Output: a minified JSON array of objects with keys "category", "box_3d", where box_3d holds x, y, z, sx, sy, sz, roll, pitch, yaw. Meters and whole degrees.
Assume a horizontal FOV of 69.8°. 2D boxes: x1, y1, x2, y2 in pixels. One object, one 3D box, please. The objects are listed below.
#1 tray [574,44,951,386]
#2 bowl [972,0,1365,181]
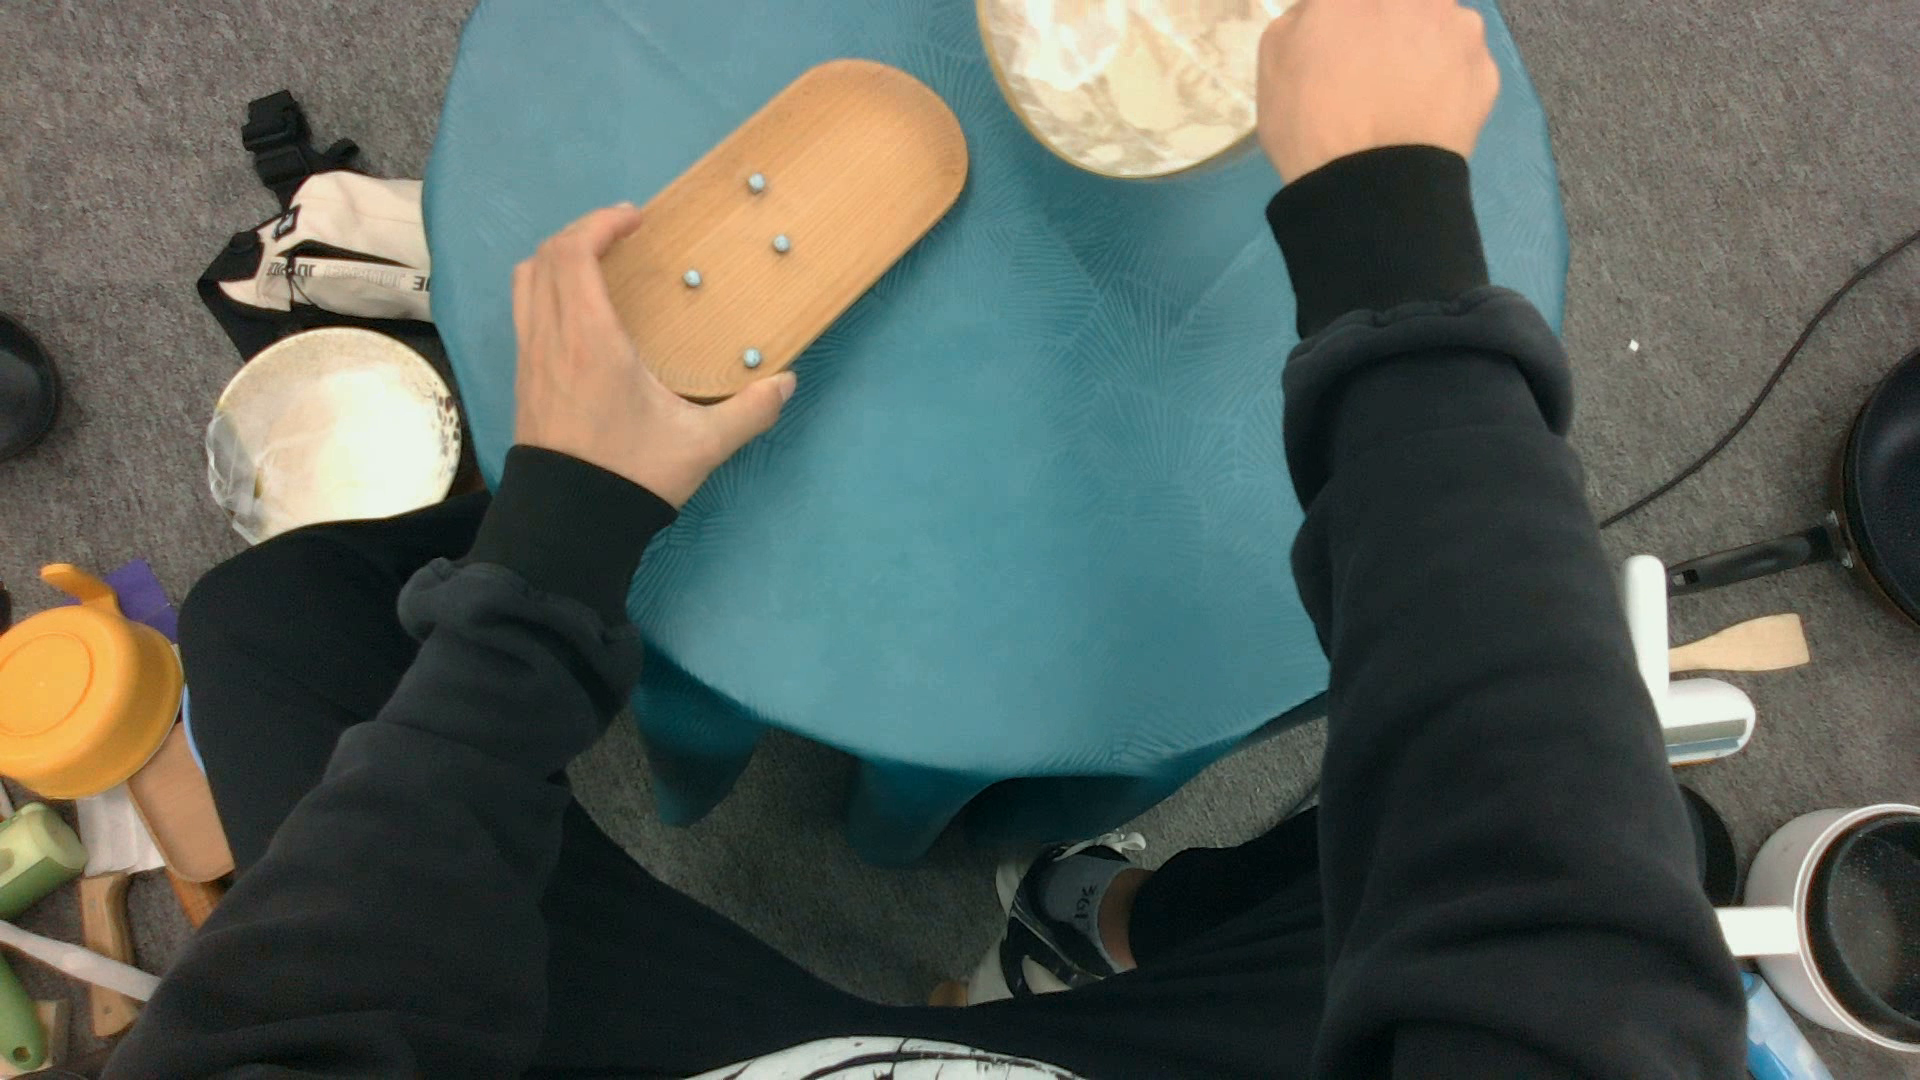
[{"category":"tray","box_3d":[-0.092,-0.163,0.676,0.101,0.020,0.232,40,62,-1]},{"category":"bowl","box_3d":[0.107,-0.268,0.640,0.095,0.214,0.215,-10,77,-50]}]
